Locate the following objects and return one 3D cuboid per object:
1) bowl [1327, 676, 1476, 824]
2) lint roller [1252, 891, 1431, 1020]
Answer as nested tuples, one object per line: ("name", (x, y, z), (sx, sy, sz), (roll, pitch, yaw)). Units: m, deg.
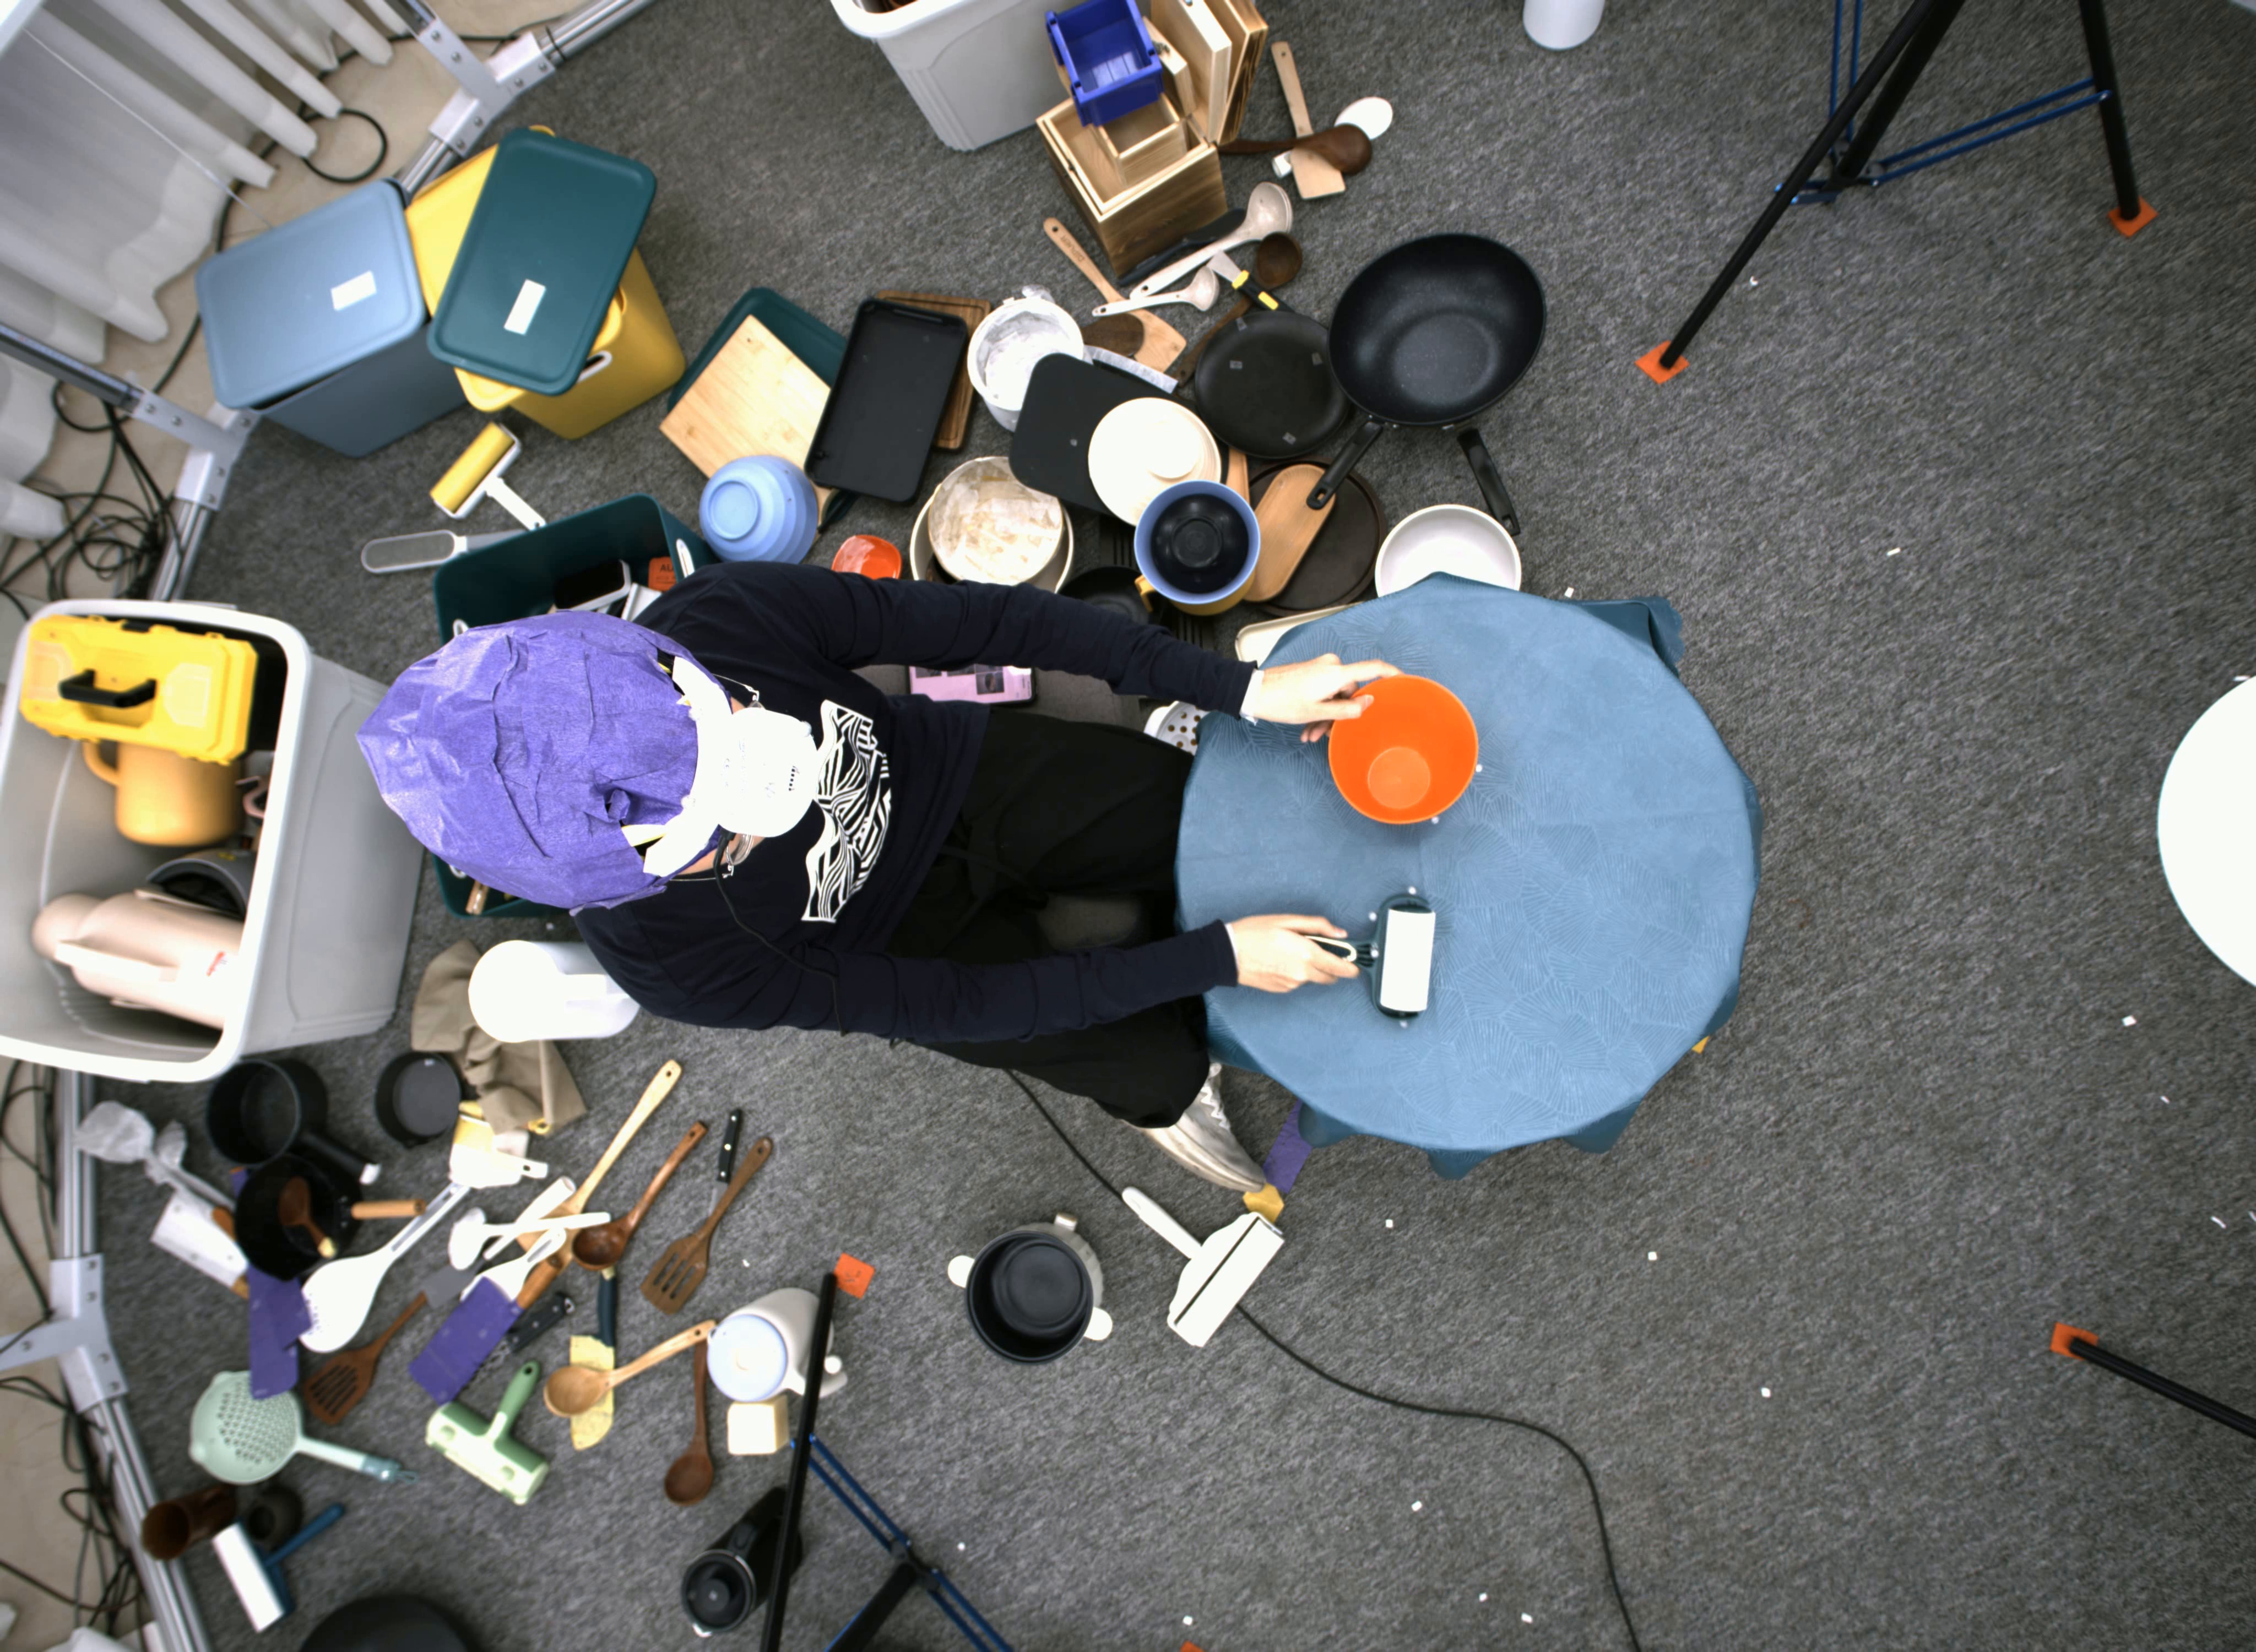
("bowl", (0.282, -0.070, 1.417), (0.149, 0.105, 0.146), (-2, 81, 12))
("lint roller", (0.218, 0.128, 1.422), (0.180, 0.048, 0.135), (3, 101, 4))
